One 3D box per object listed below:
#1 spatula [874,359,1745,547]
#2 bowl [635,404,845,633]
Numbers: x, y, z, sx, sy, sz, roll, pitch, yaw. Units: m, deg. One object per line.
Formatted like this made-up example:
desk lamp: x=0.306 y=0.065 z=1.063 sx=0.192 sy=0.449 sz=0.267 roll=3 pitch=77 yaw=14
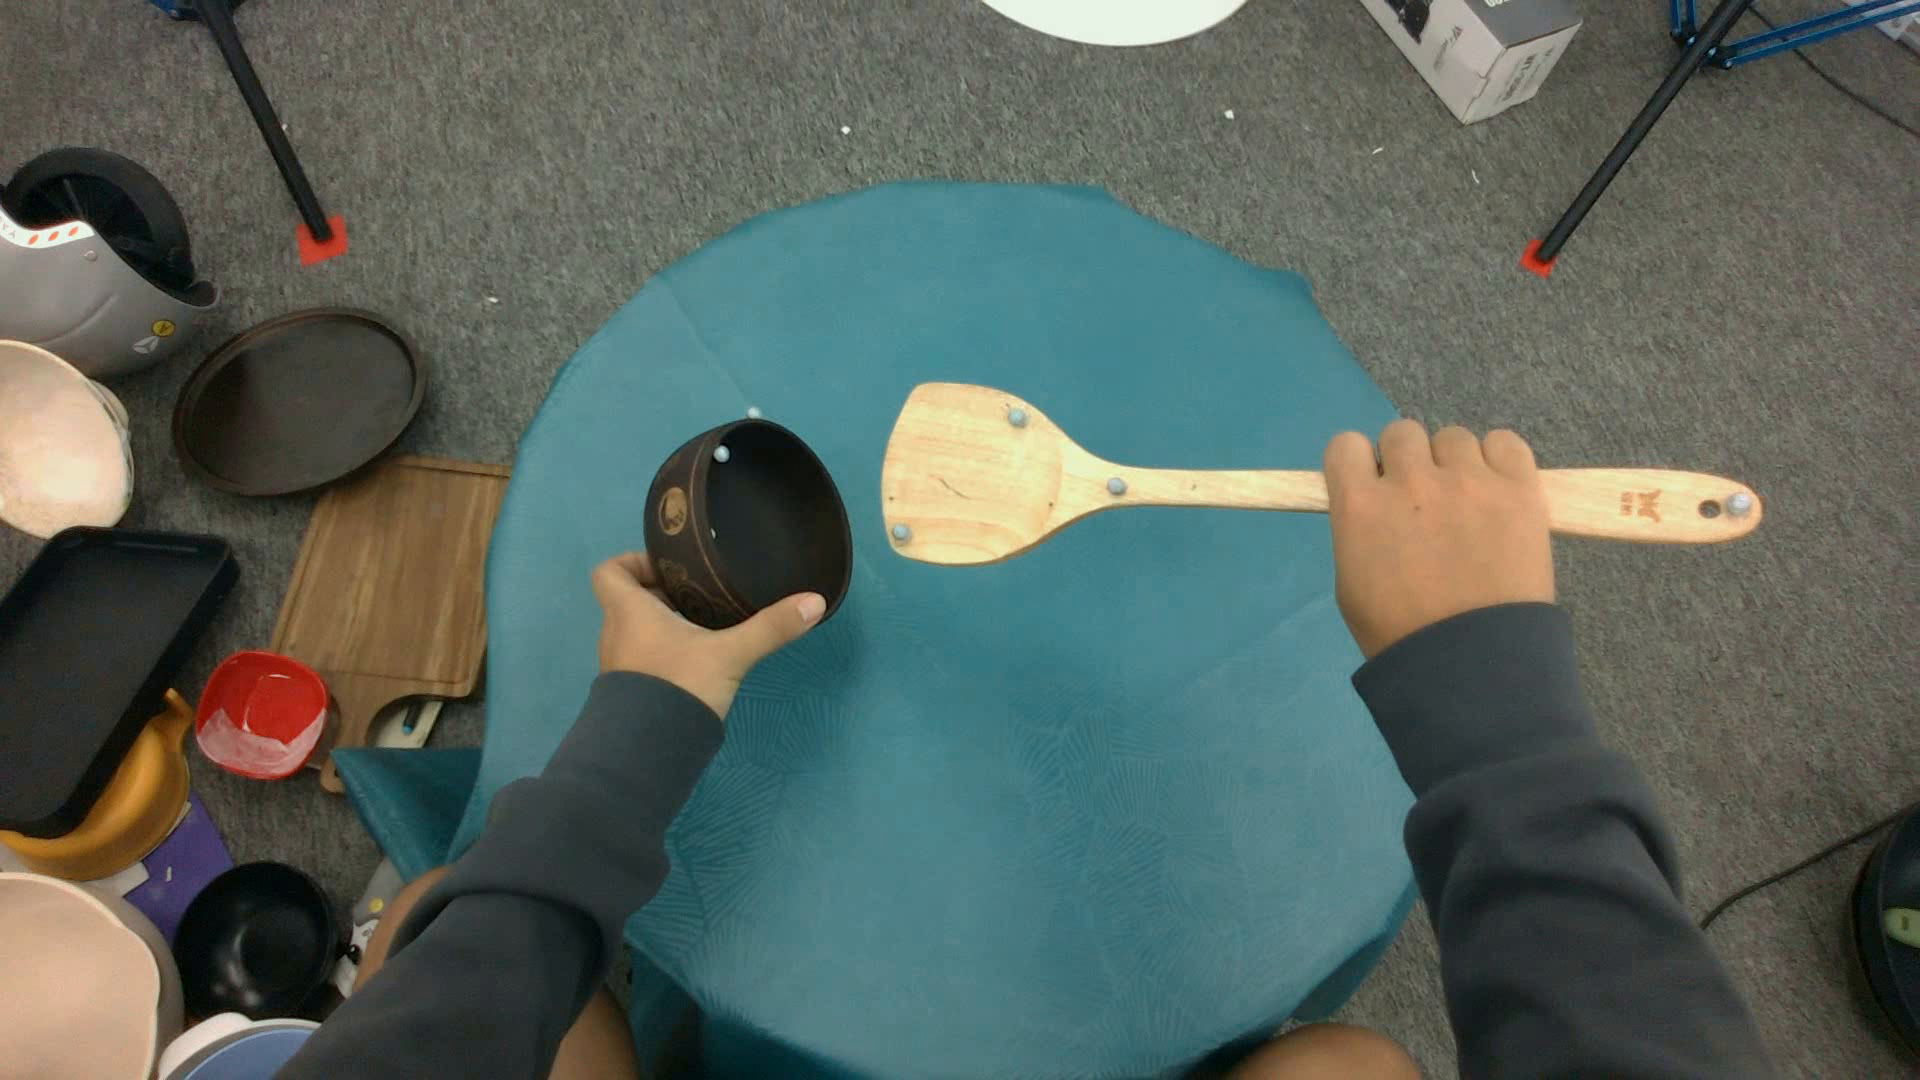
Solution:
spatula: x=0.137 y=-0.034 z=0.630 sx=0.390 sy=0.018 sz=0.096 roll=4 pitch=81 yaw=24
bowl: x=-0.123 y=-0.007 z=0.724 sx=0.069 sy=0.118 sz=0.118 roll=-16 pitch=58 yaw=31
